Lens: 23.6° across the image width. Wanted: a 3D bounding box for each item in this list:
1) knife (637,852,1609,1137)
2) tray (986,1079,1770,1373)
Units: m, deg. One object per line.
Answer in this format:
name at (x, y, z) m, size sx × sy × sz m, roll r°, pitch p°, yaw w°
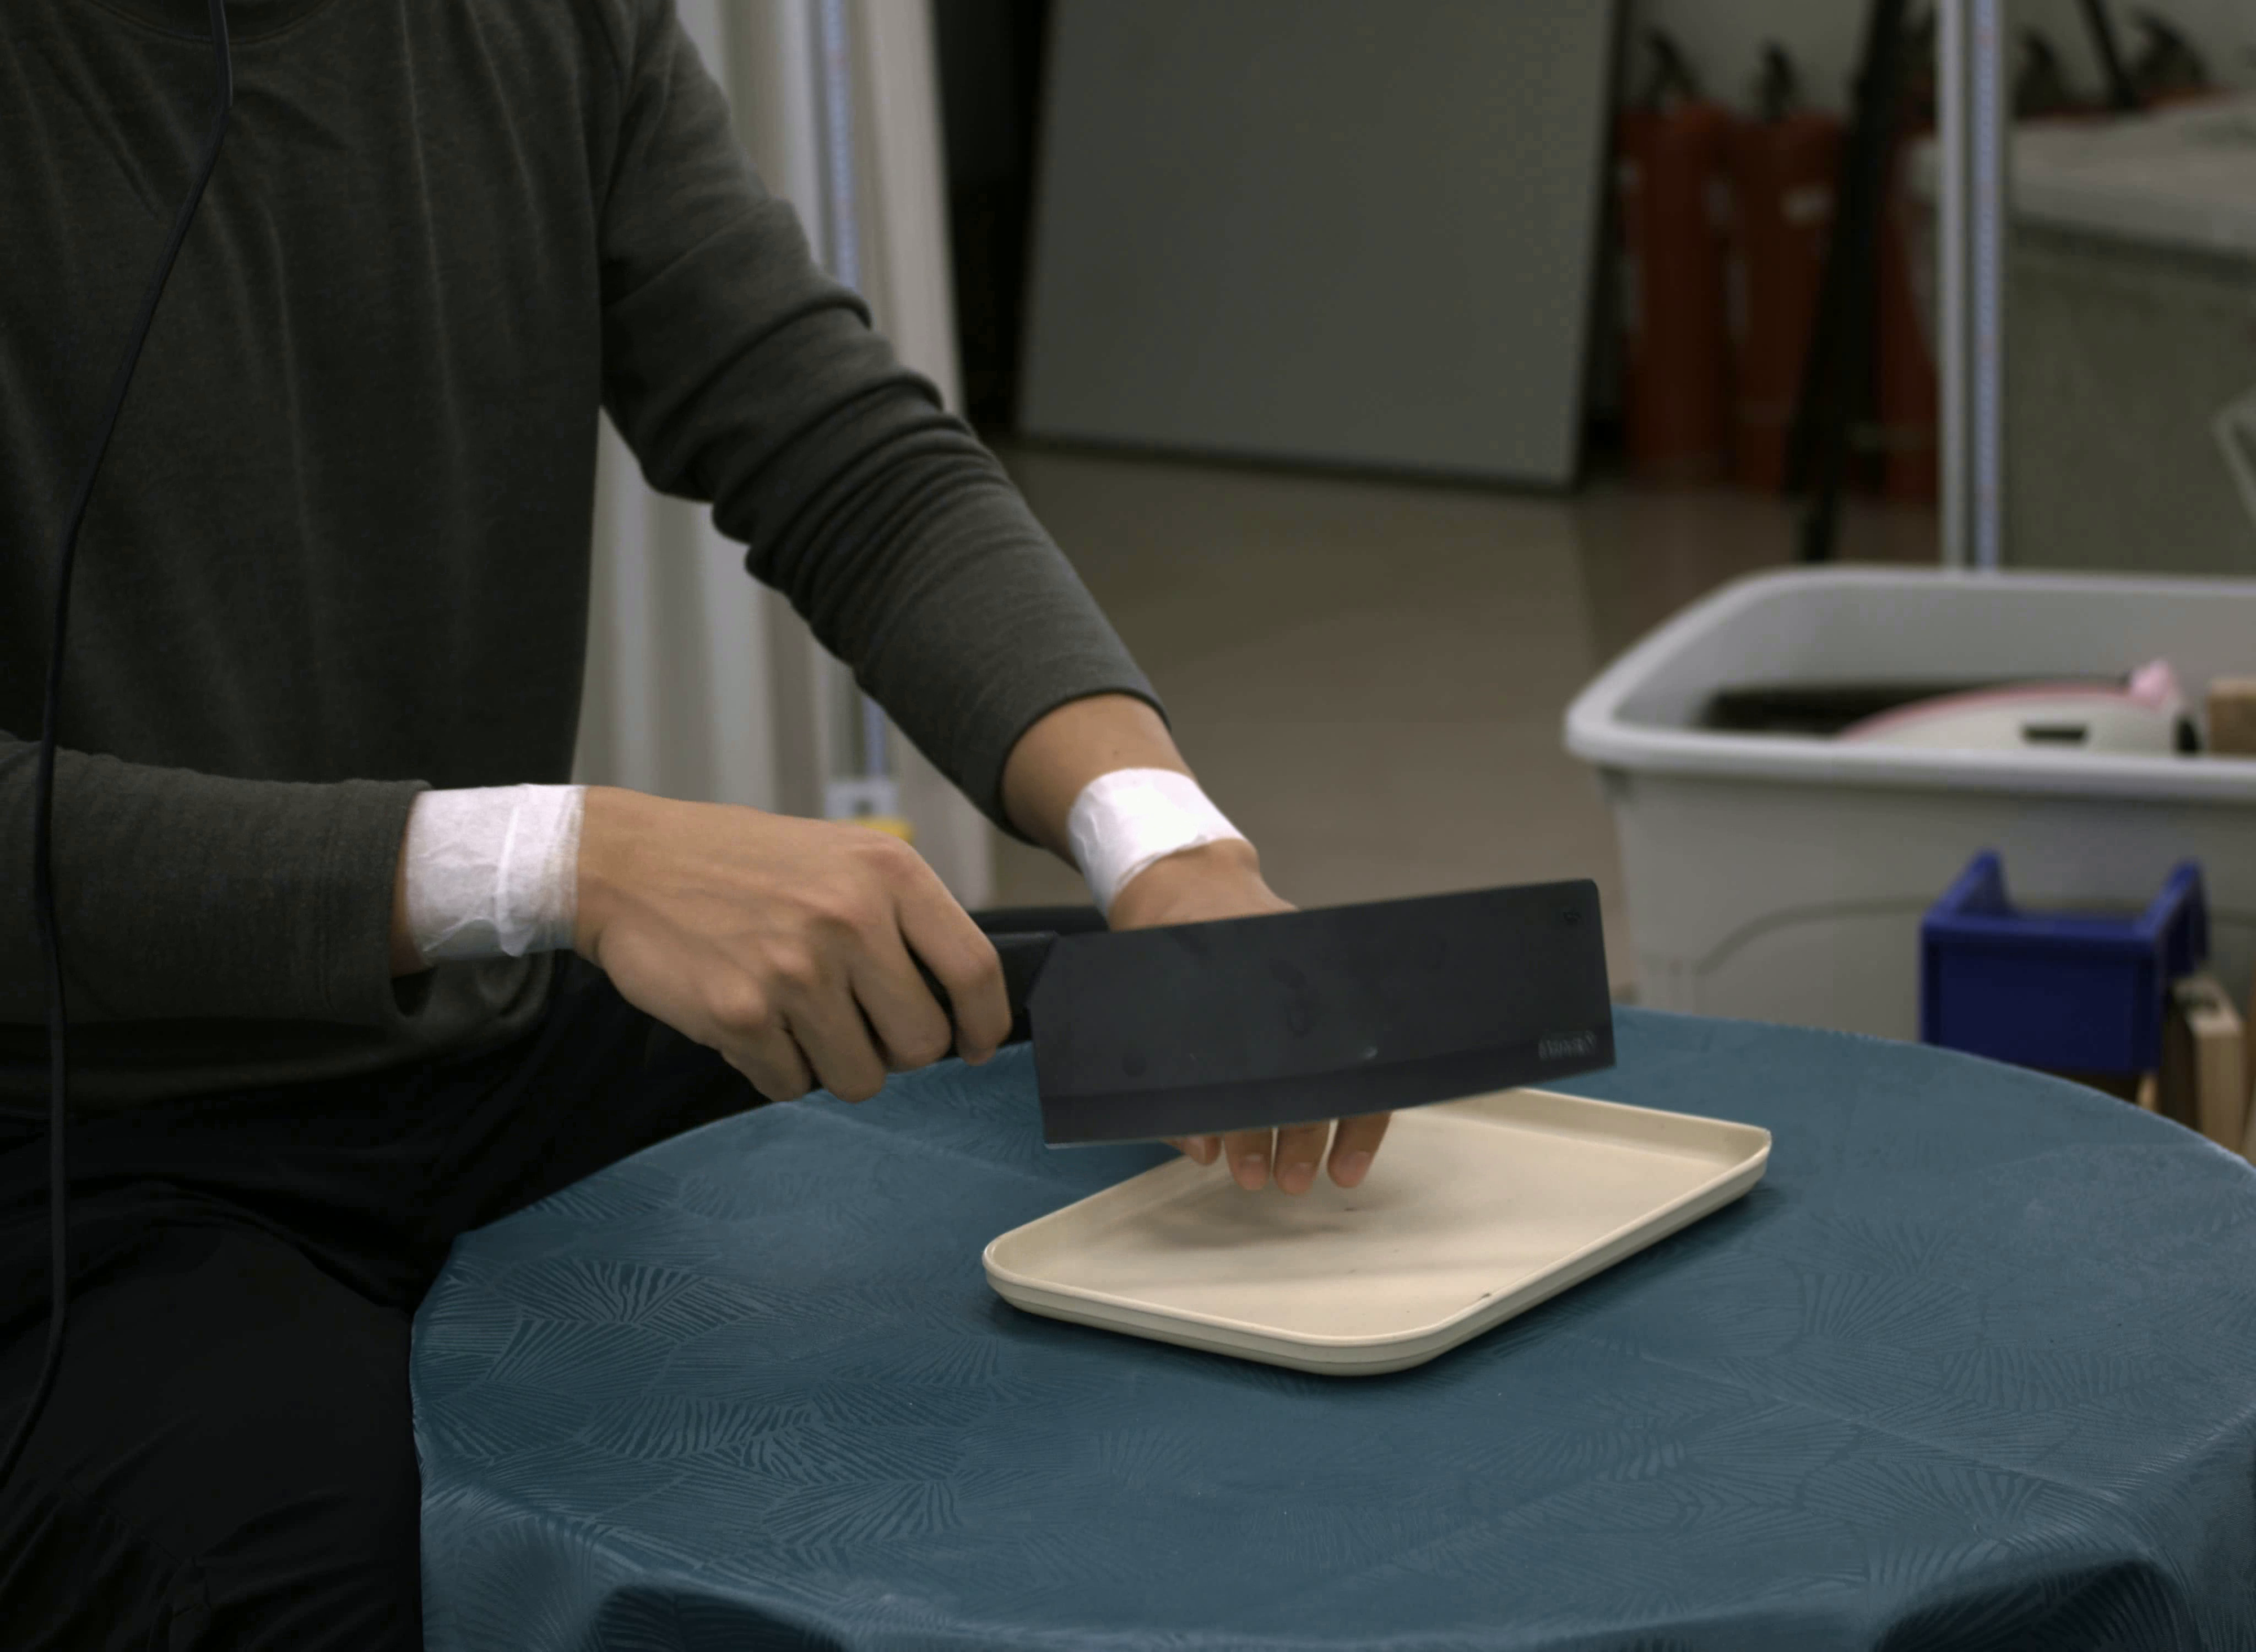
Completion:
knife at (-0.002, 0.055, 1.654) m, size 0.298 × 0.082 × 0.021 m, roll -3°, pitch -2°, yaw 2°
tray at (0.082, 0.125, 1.699) m, size 0.172 × 0.017 × 0.235 m, roll 6°, pitch 17°, yaw 39°
